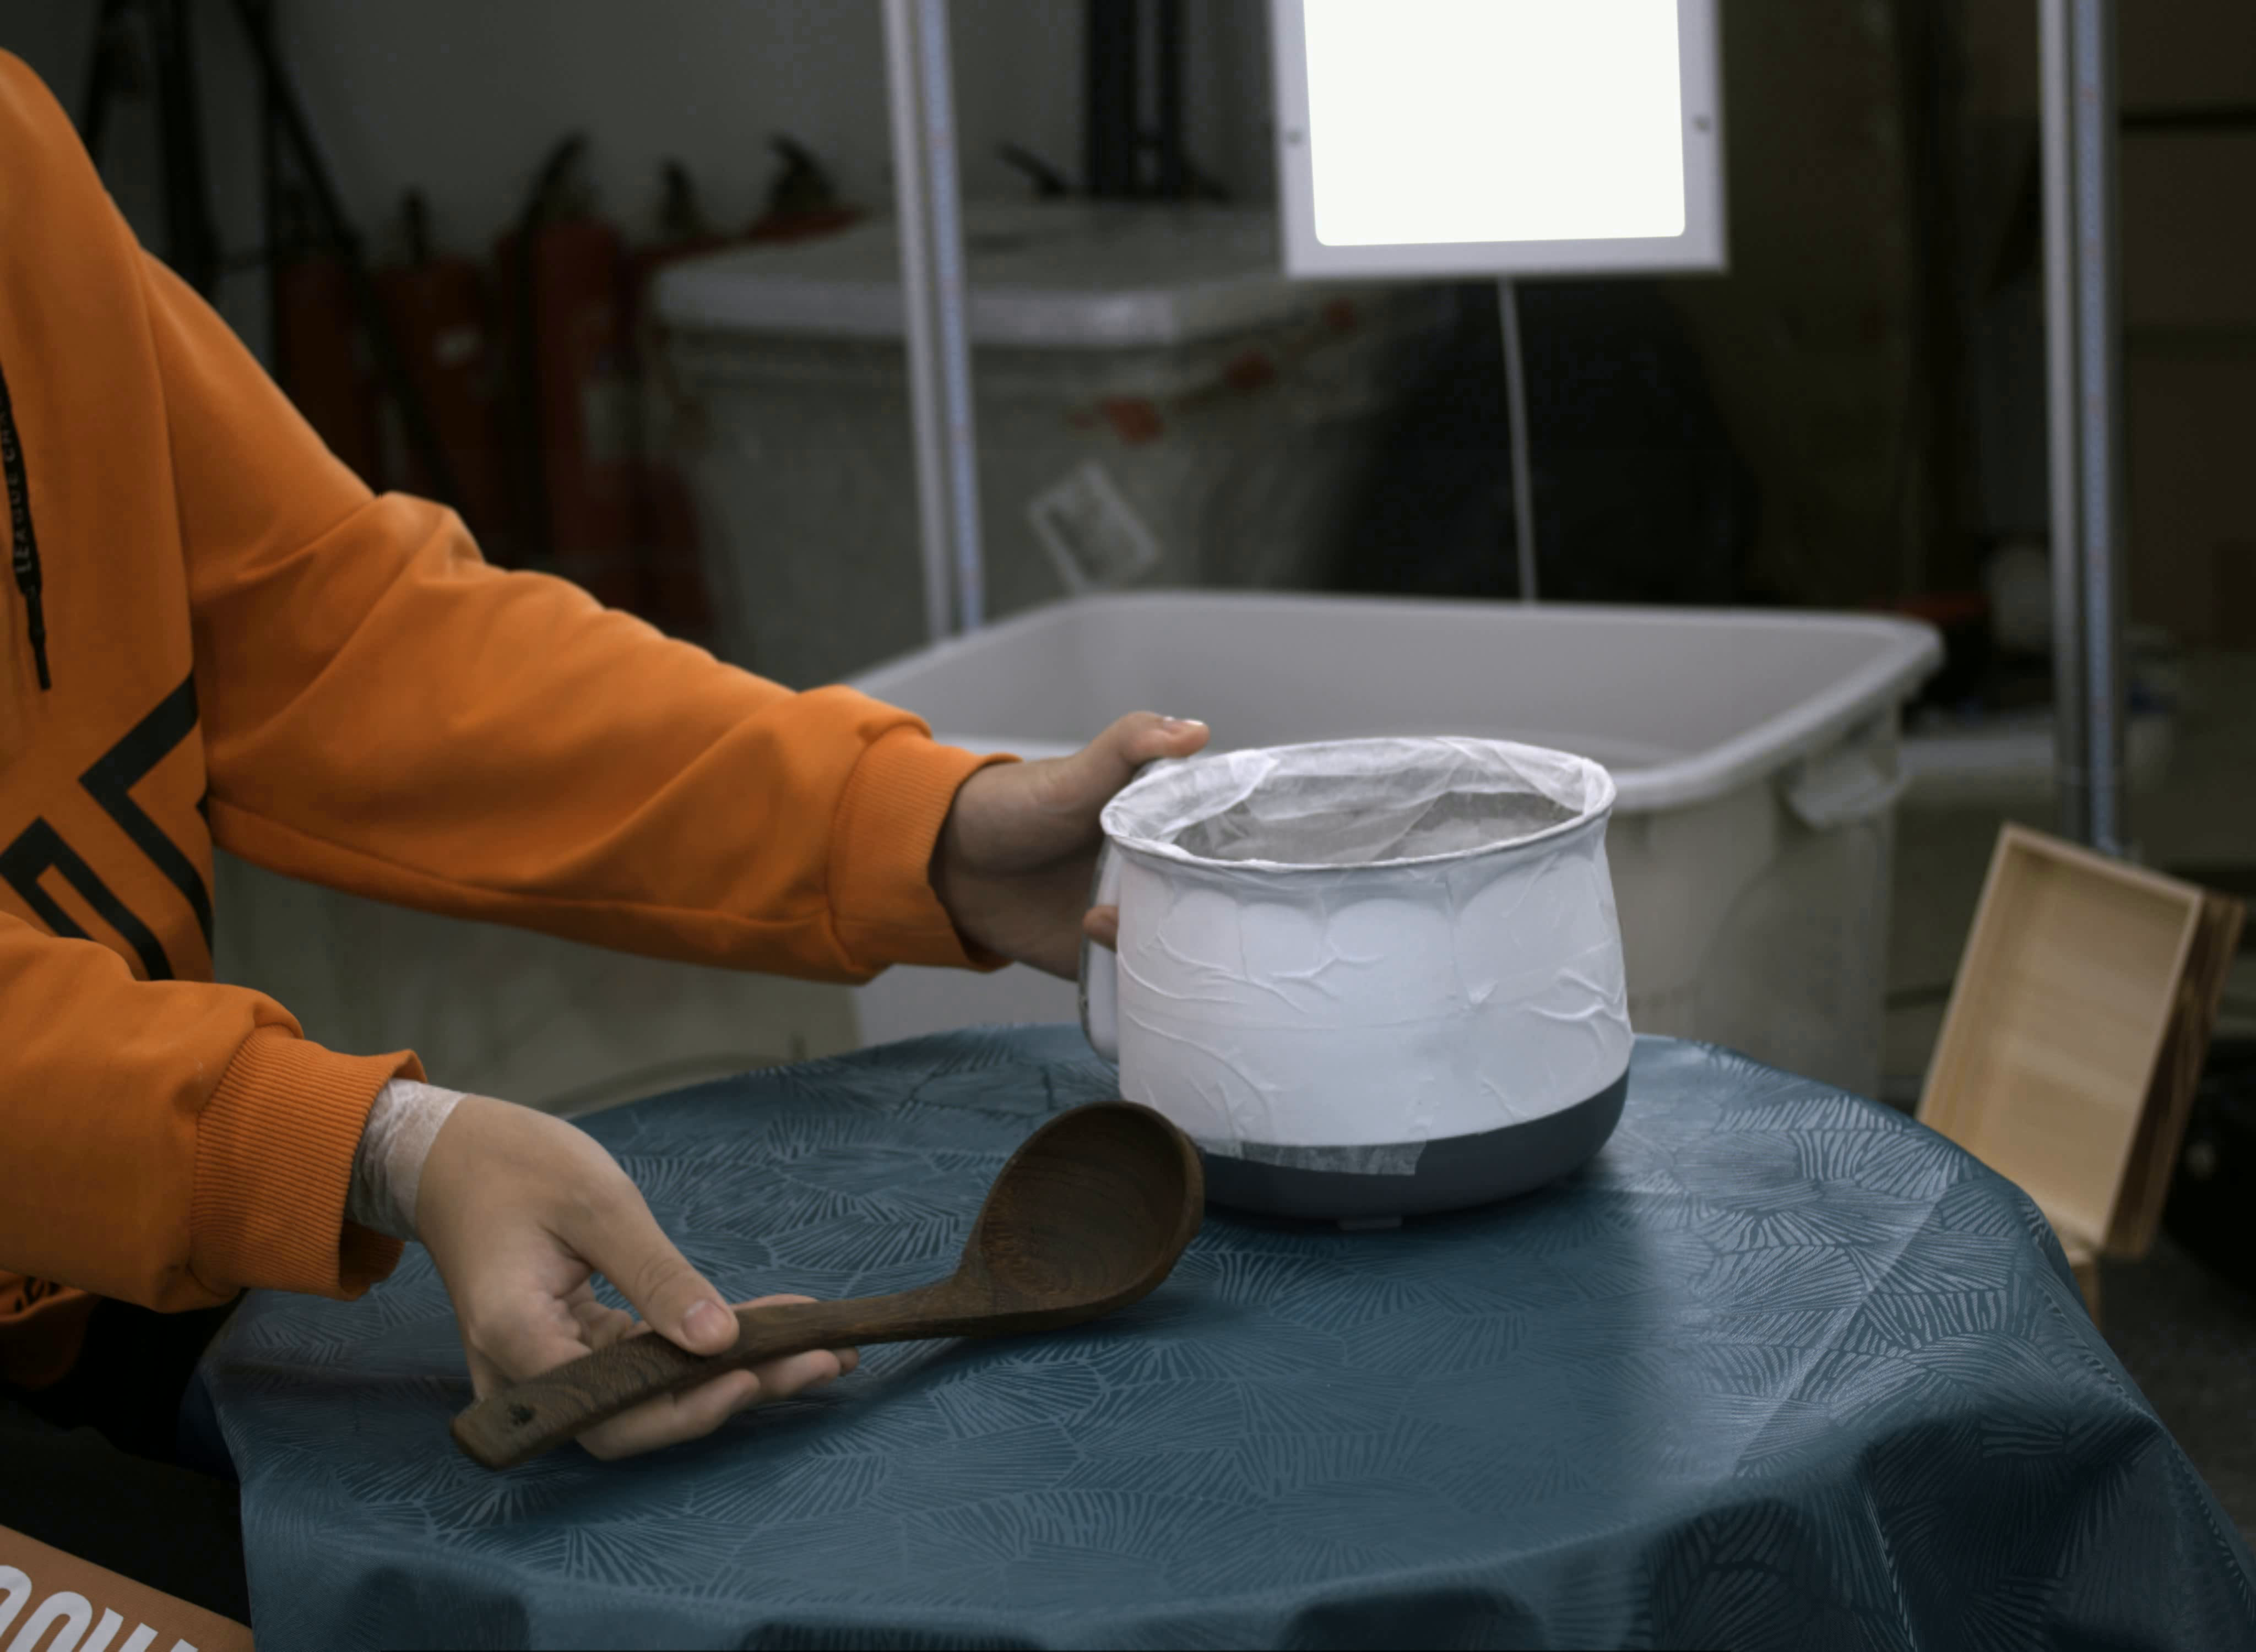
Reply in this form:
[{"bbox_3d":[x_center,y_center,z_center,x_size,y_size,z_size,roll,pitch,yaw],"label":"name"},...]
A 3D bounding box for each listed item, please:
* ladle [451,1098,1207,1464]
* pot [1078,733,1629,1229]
[{"bbox_3d":[-0.089,0.138,1.706,0.267,0.072,0.077,-9,30,-40],"label":"ladle"},{"bbox_3d":[0.064,0.047,1.905,0.174,0.137,0.238,-15,18,-38],"label":"pot"}]
